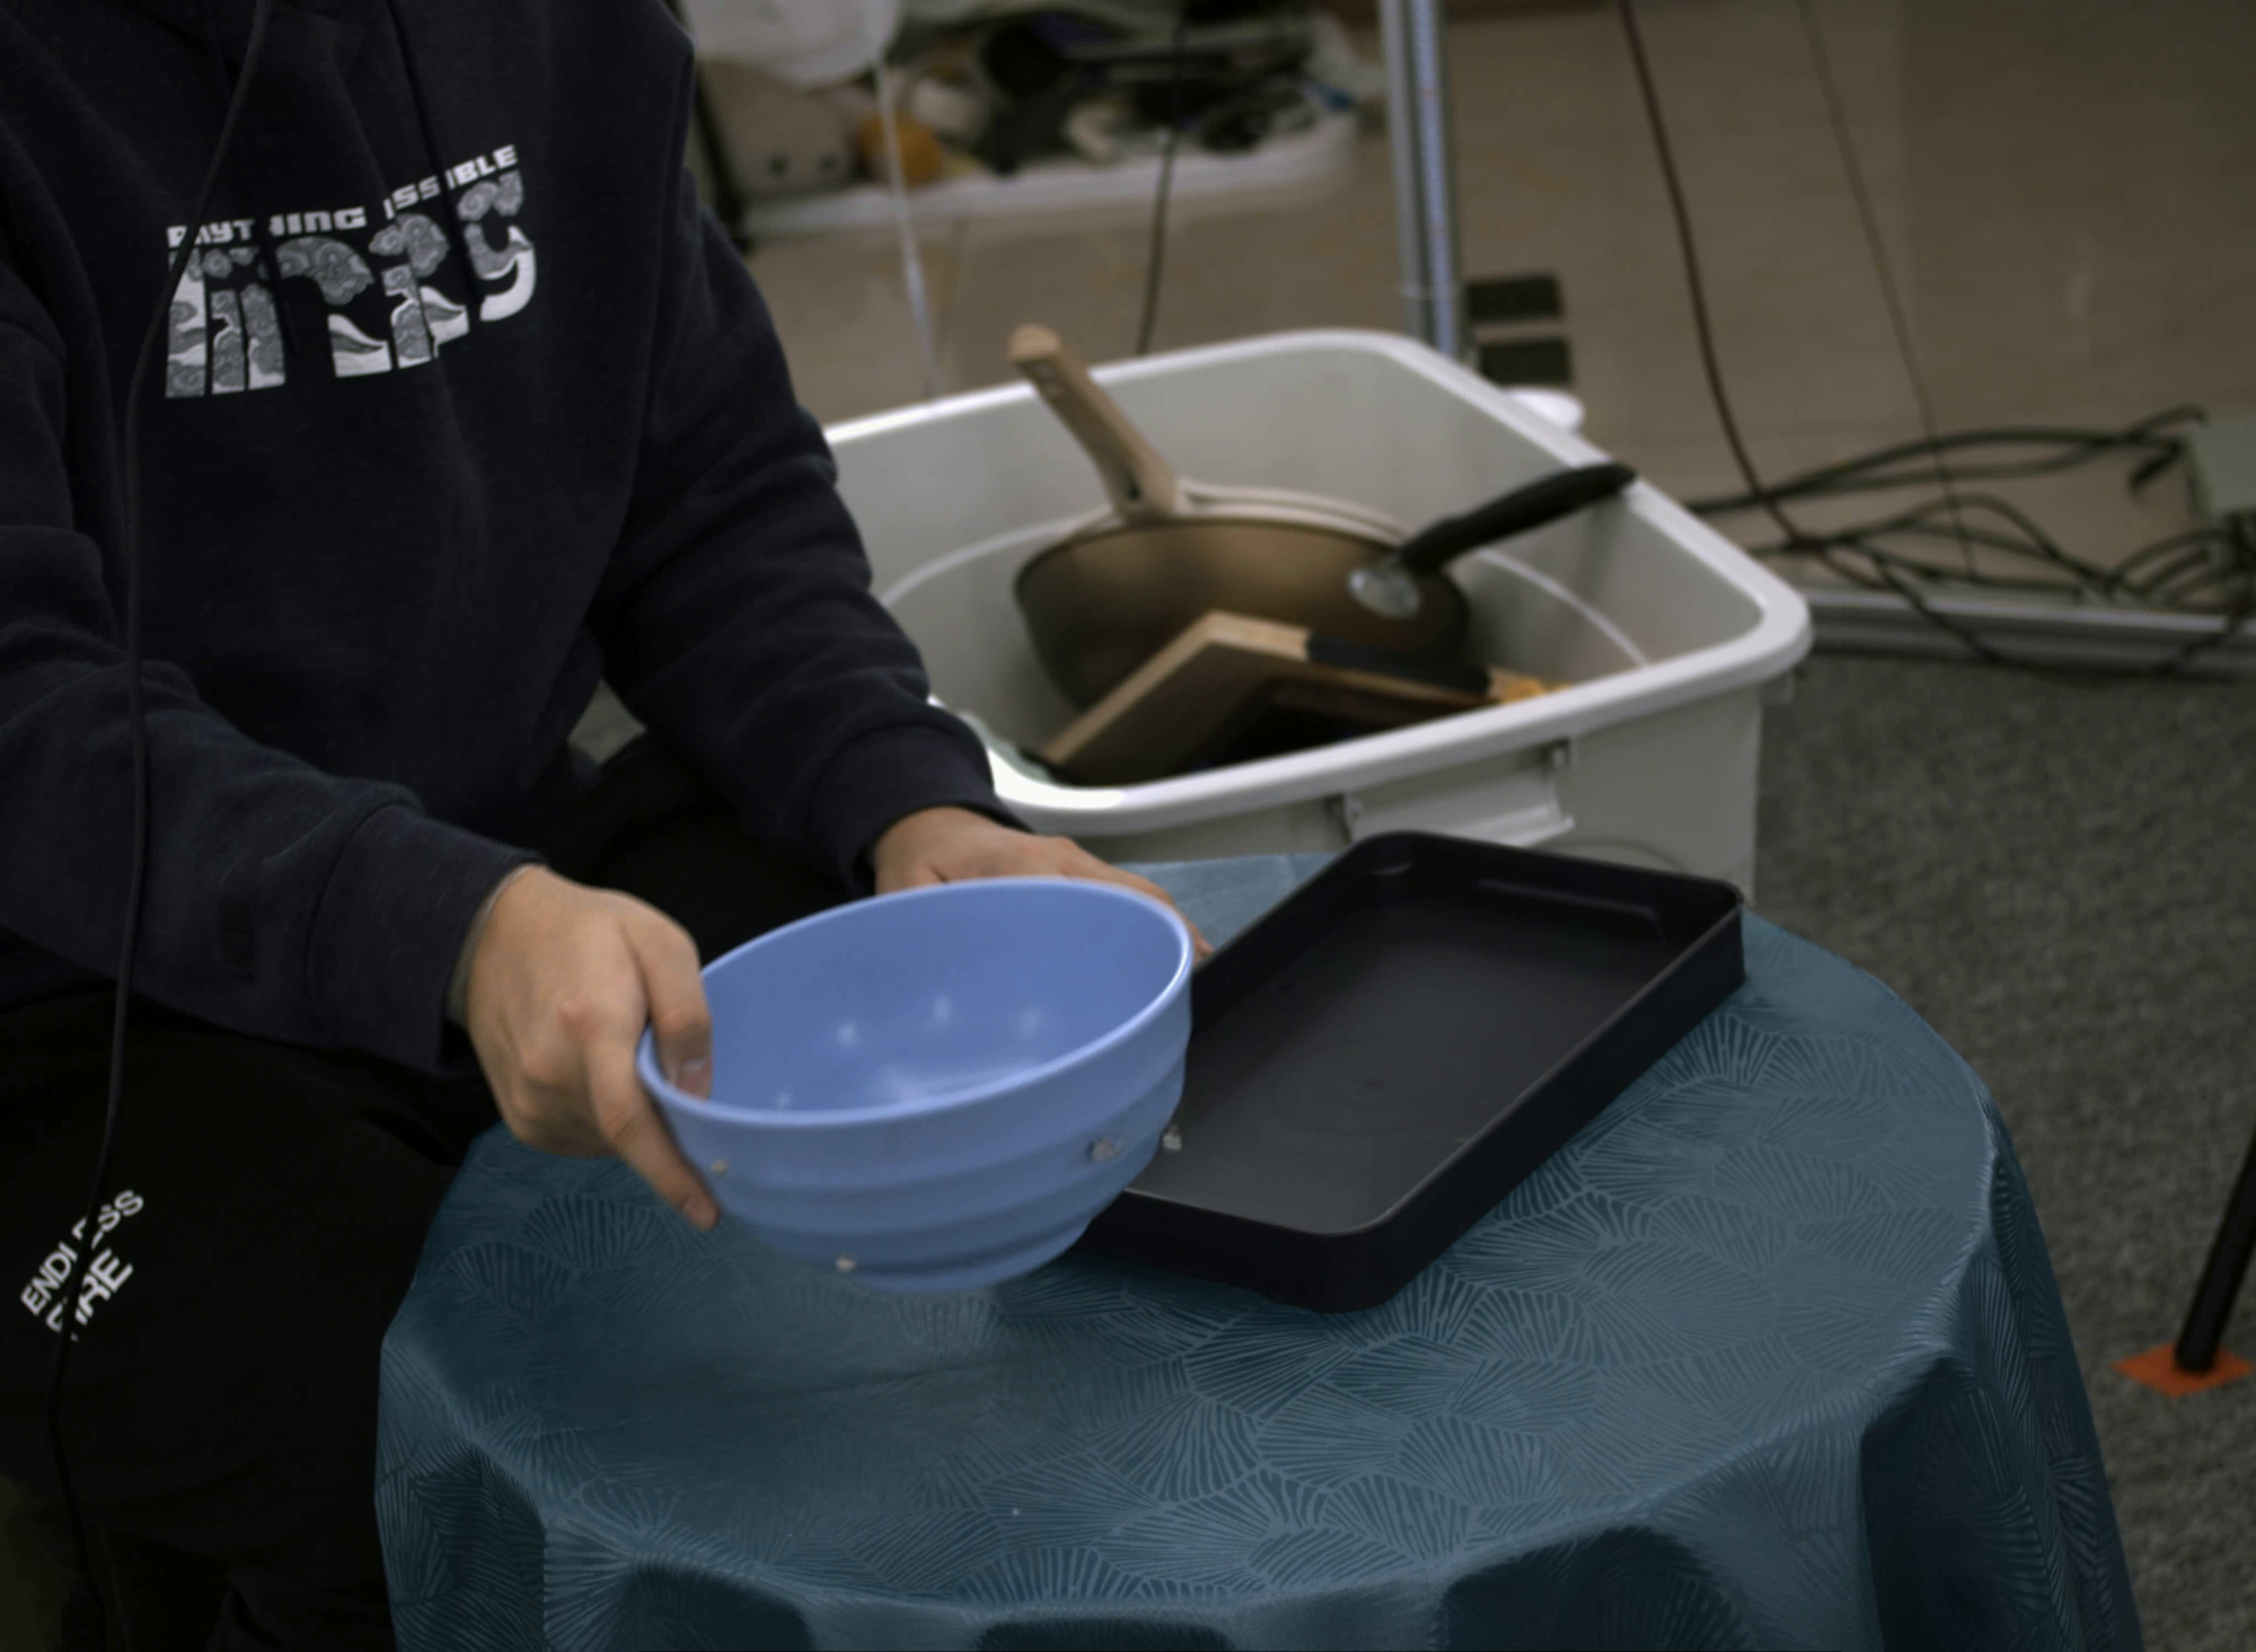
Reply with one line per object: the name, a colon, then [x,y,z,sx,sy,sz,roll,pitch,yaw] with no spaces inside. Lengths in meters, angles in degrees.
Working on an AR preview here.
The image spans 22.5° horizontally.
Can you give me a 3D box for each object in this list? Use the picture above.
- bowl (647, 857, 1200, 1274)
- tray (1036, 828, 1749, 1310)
bowl: [-0.062,0.094,1.982,0.196,0.097,0.194,-10,23,5]
tray: [0.094,0.088,2.191,0.183,0.037,0.314,10,29,33]
